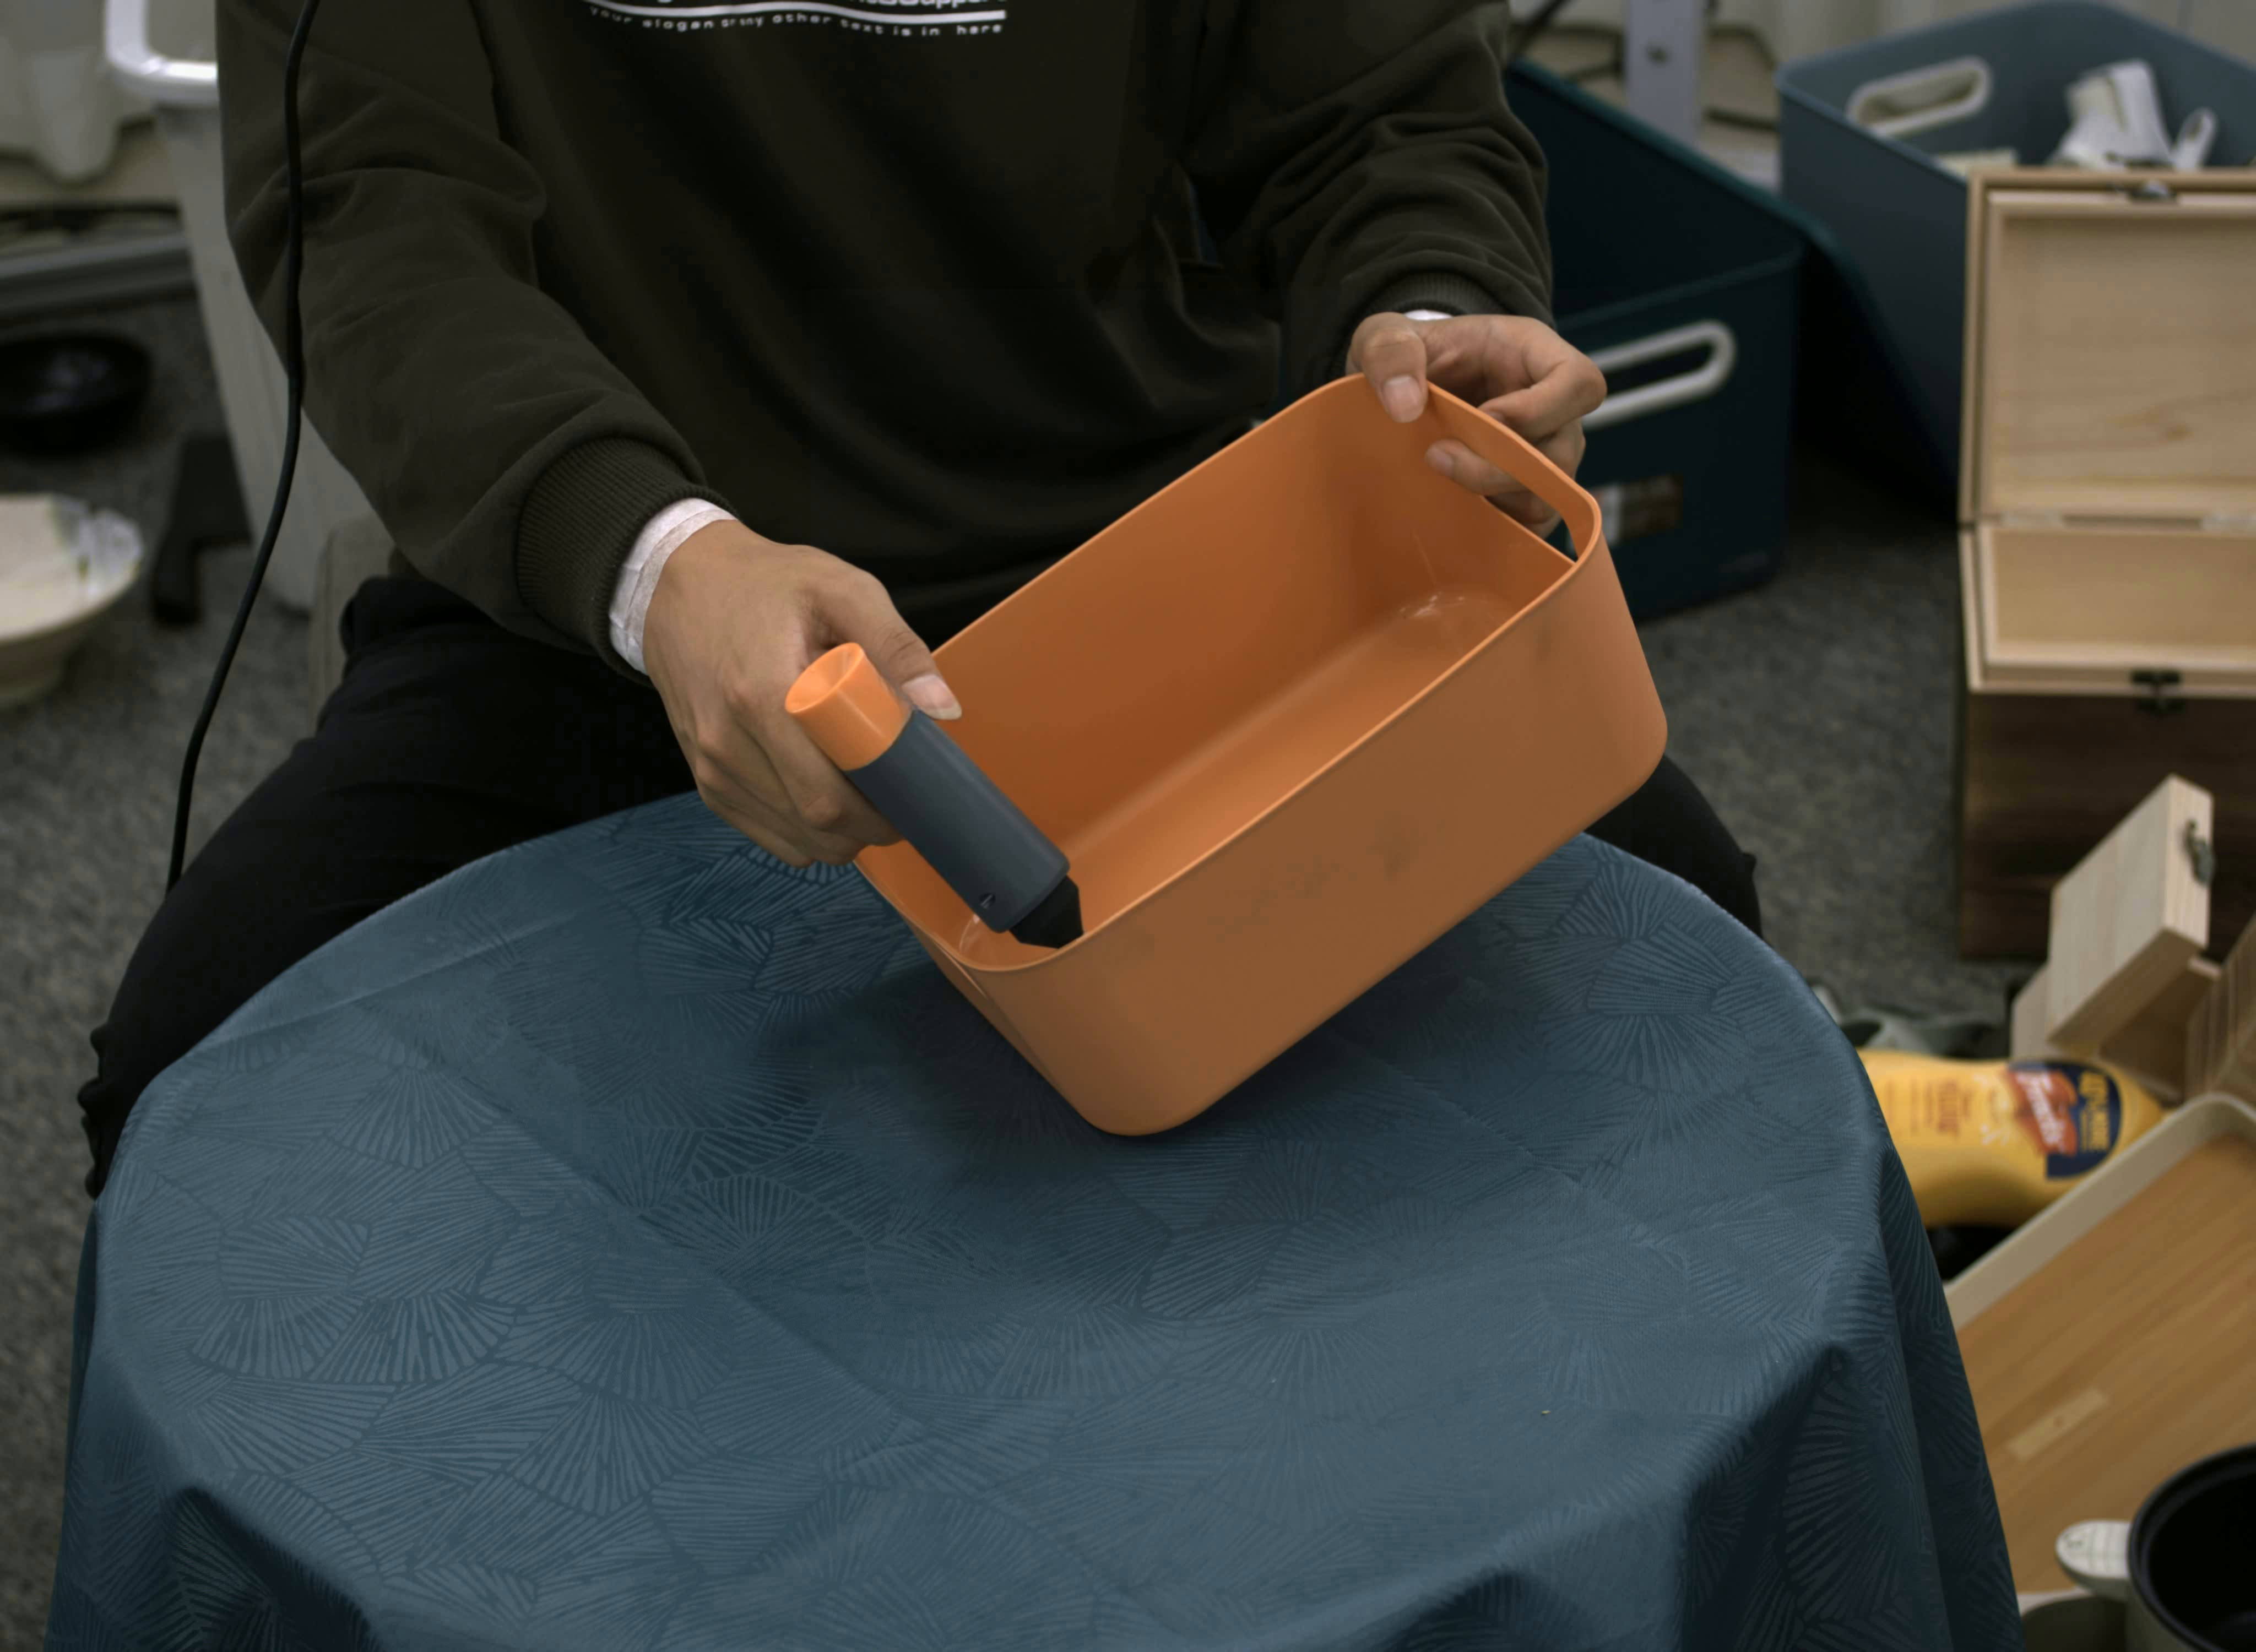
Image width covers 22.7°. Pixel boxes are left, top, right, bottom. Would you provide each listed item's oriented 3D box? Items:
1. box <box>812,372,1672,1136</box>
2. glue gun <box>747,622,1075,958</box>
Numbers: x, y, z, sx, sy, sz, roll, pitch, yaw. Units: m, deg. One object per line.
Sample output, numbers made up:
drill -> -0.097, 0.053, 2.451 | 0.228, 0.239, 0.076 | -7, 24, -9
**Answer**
box -> 0.044, -0.023, 1.949 | 0.274, 0.101, 0.200 | -37, 34, -11
glue gun -> -0.073, -0.015, 1.865 | 0.041, 0.117, 0.140 | -41, 24, -6
